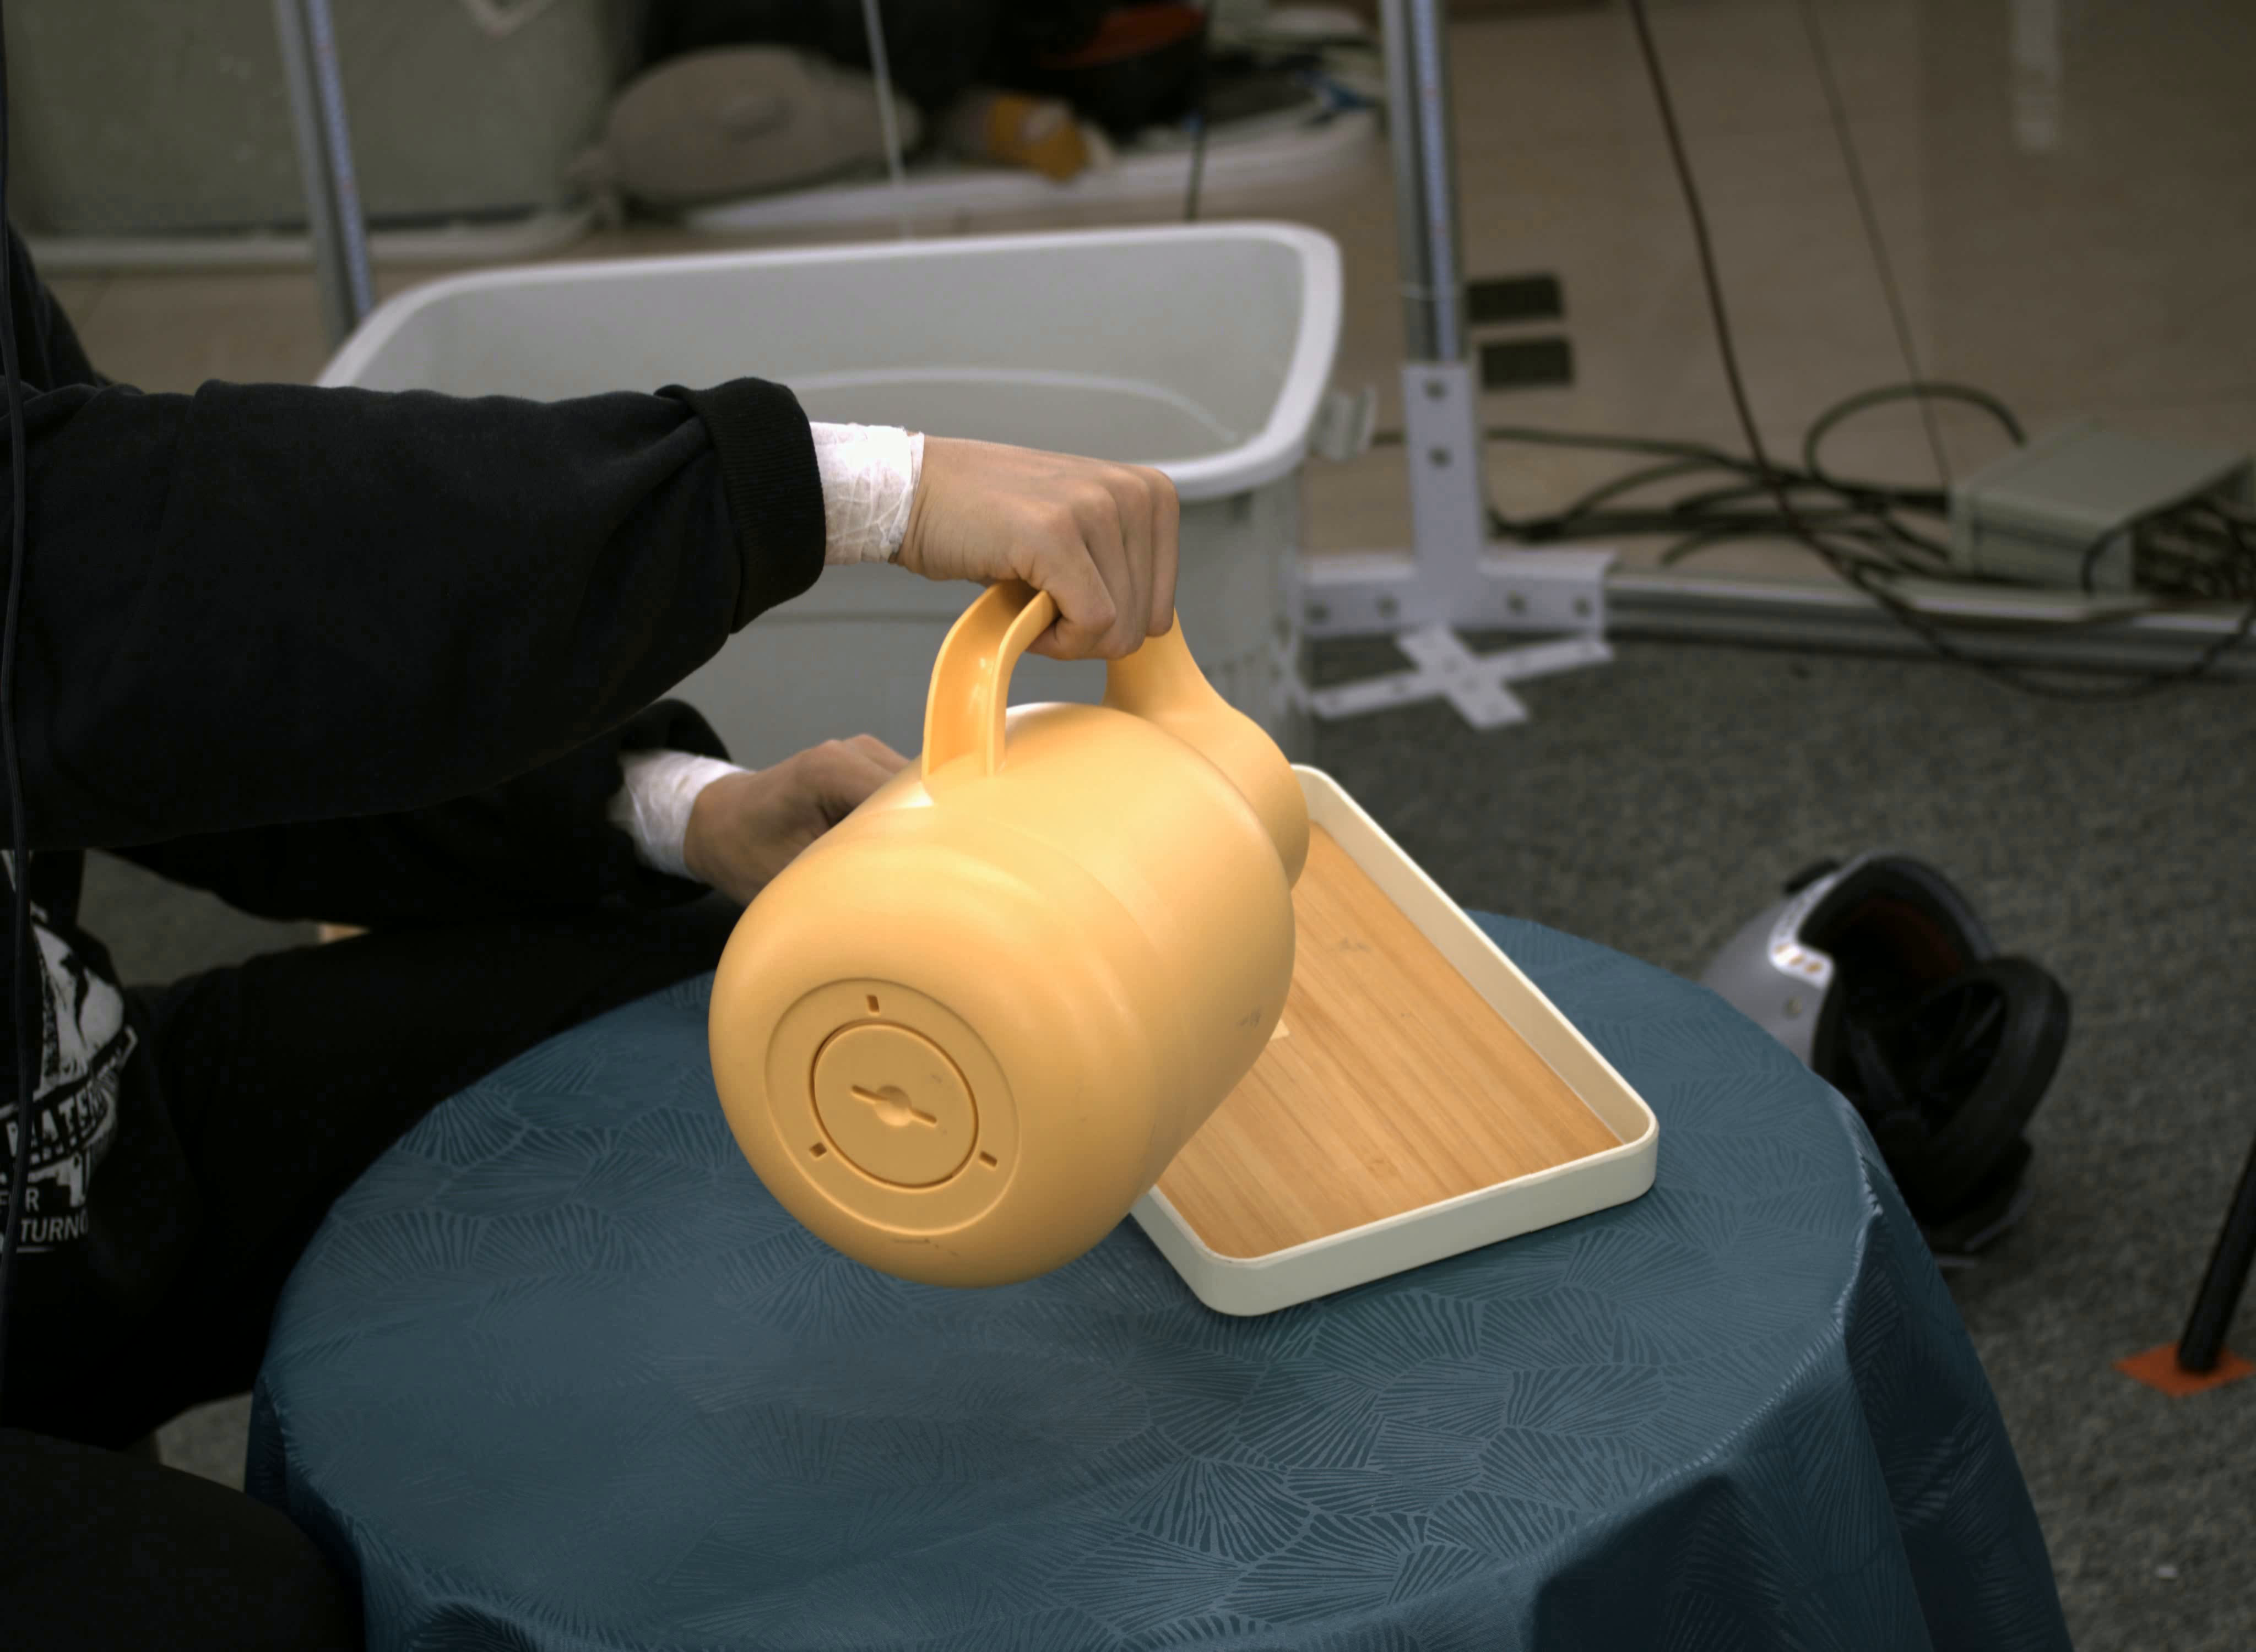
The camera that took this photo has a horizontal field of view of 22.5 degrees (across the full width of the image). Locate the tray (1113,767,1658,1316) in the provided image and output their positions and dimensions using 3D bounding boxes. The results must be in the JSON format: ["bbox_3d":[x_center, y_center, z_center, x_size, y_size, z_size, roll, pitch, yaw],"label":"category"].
[{"bbox_3d":[0.053,0.077,2.181,0.191,0.028,0.296,-15,36,-20],"label":"tray"}]

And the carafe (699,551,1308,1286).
[{"bbox_3d":[-0.034,0.023,1.956,0.163,0.205,0.257,-5,21,28],"label":"carafe"}]
